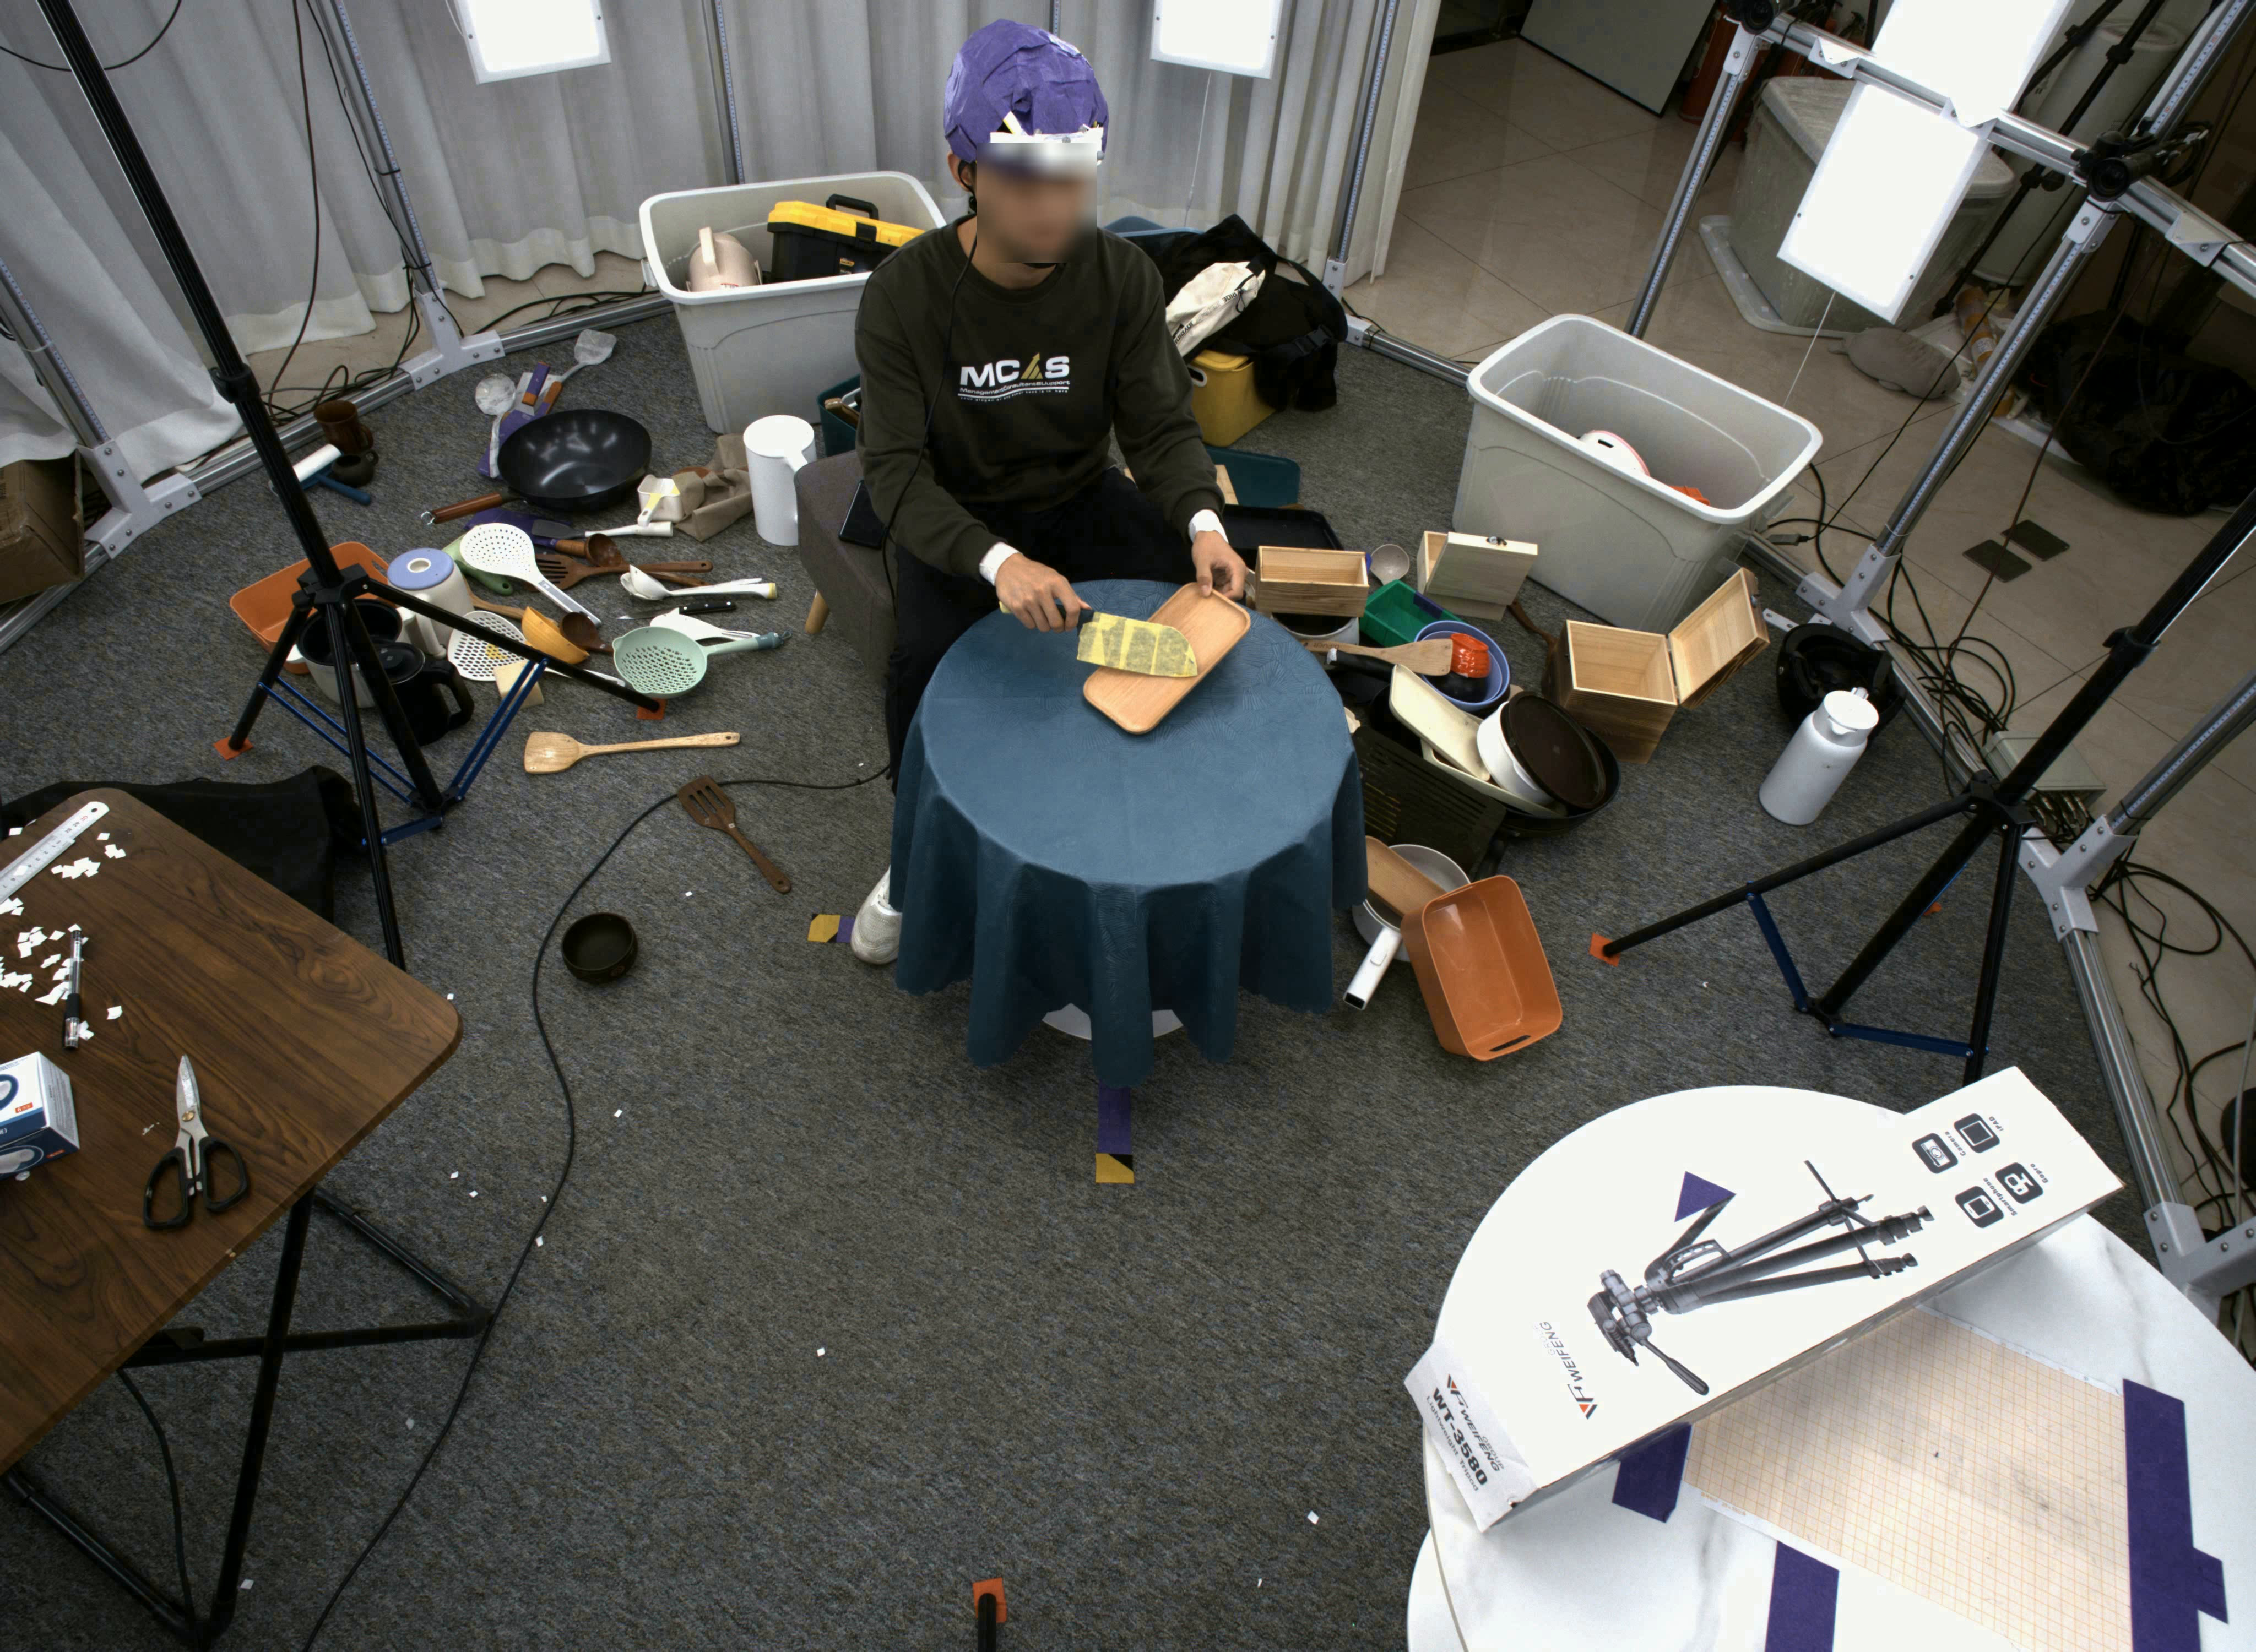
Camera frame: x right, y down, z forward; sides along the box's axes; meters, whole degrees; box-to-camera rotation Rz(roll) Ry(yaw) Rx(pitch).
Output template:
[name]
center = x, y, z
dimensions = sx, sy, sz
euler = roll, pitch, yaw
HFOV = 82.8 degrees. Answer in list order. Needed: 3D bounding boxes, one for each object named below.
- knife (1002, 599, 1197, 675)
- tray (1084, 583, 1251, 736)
[knife]
center = -0.041, -0.267, 1.807
dimensions = 0.290, 0.080, 0.027
euler = 15, 15, 8
[tray]
center = 0.057, -0.238, 1.820
dimensions = 0.132, 0.022, 0.252
euler = 37, 75, 28
